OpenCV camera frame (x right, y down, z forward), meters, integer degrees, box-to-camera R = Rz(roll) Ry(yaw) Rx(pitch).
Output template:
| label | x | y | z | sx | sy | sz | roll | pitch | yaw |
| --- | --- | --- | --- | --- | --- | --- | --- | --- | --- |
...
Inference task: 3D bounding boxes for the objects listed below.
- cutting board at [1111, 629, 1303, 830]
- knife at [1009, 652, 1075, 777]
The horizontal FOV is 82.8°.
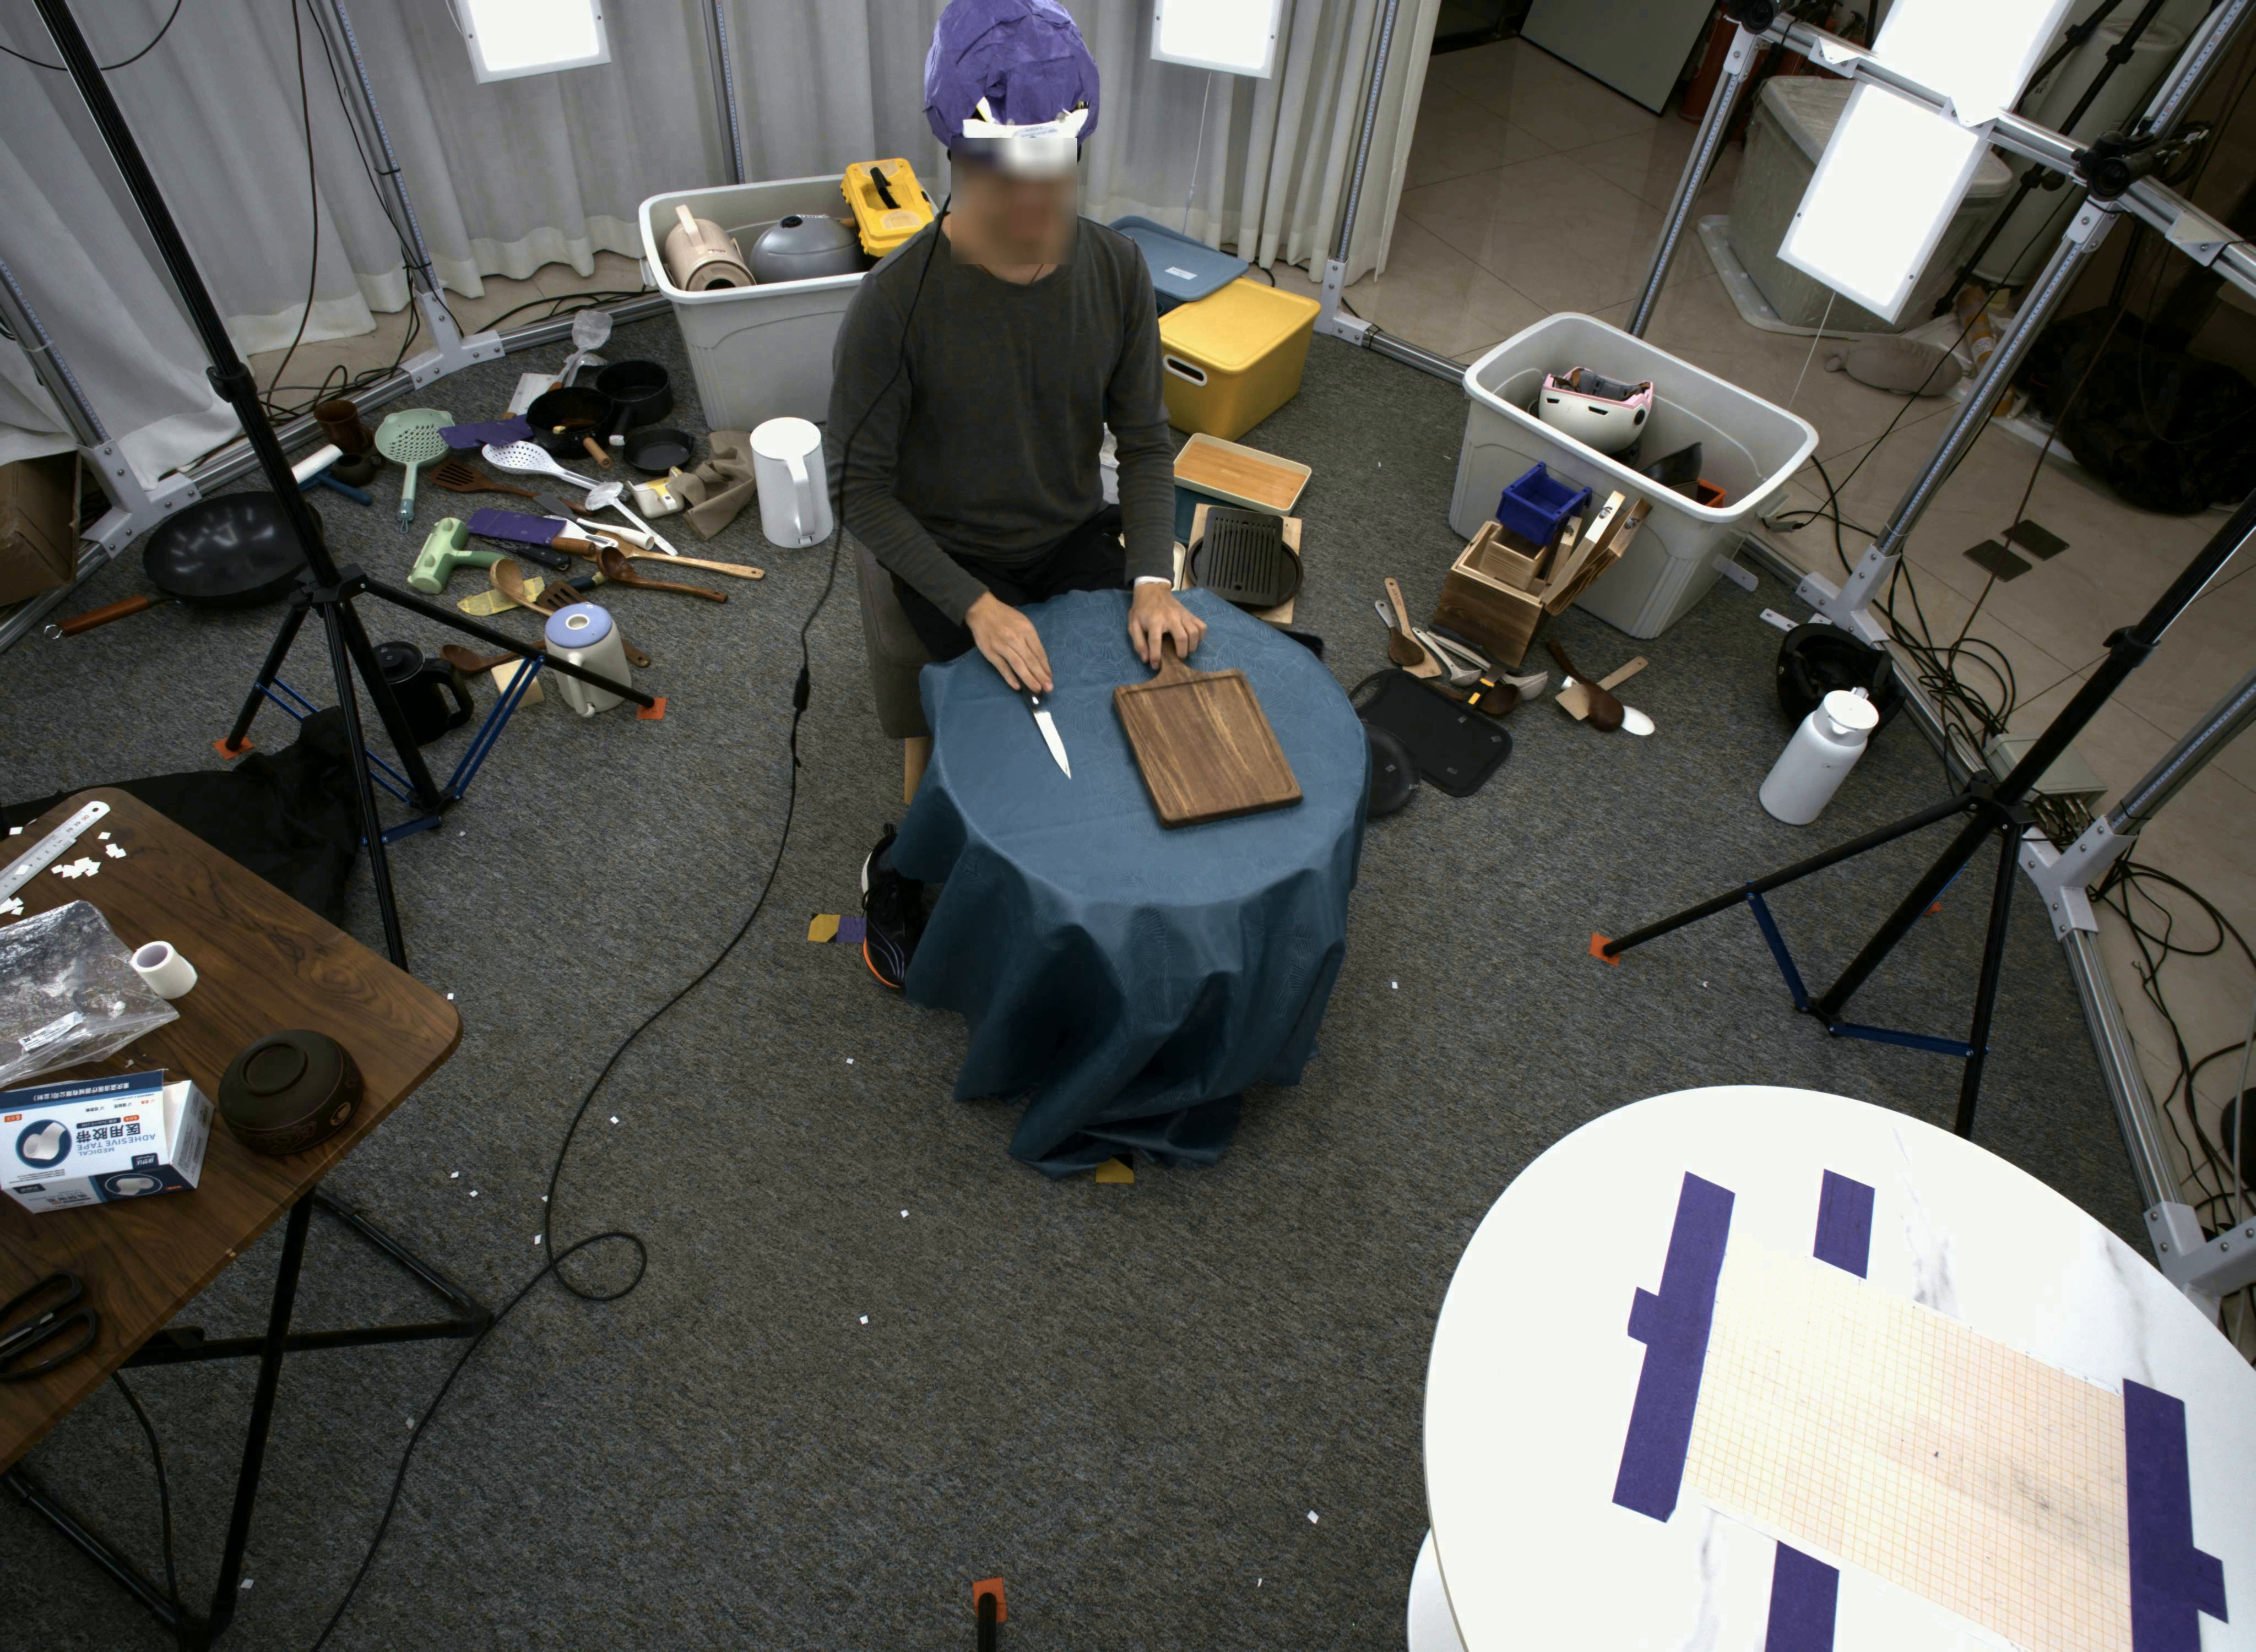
| label | x | y | z | sx | sy | sz | roll | pitch | yaw |
| --- | --- | --- | --- | --- | --- | --- | --- | --- | --- |
| cutting board | 0.091 | -0.150 | 1.786 | 0.201 | 0.022 | 0.361 | -11 | 52 | -13 |
| knife | -0.121 | -0.156 | 1.787 | 0.024 | 0.016 | 0.243 | -15 | 55 | -17 |
